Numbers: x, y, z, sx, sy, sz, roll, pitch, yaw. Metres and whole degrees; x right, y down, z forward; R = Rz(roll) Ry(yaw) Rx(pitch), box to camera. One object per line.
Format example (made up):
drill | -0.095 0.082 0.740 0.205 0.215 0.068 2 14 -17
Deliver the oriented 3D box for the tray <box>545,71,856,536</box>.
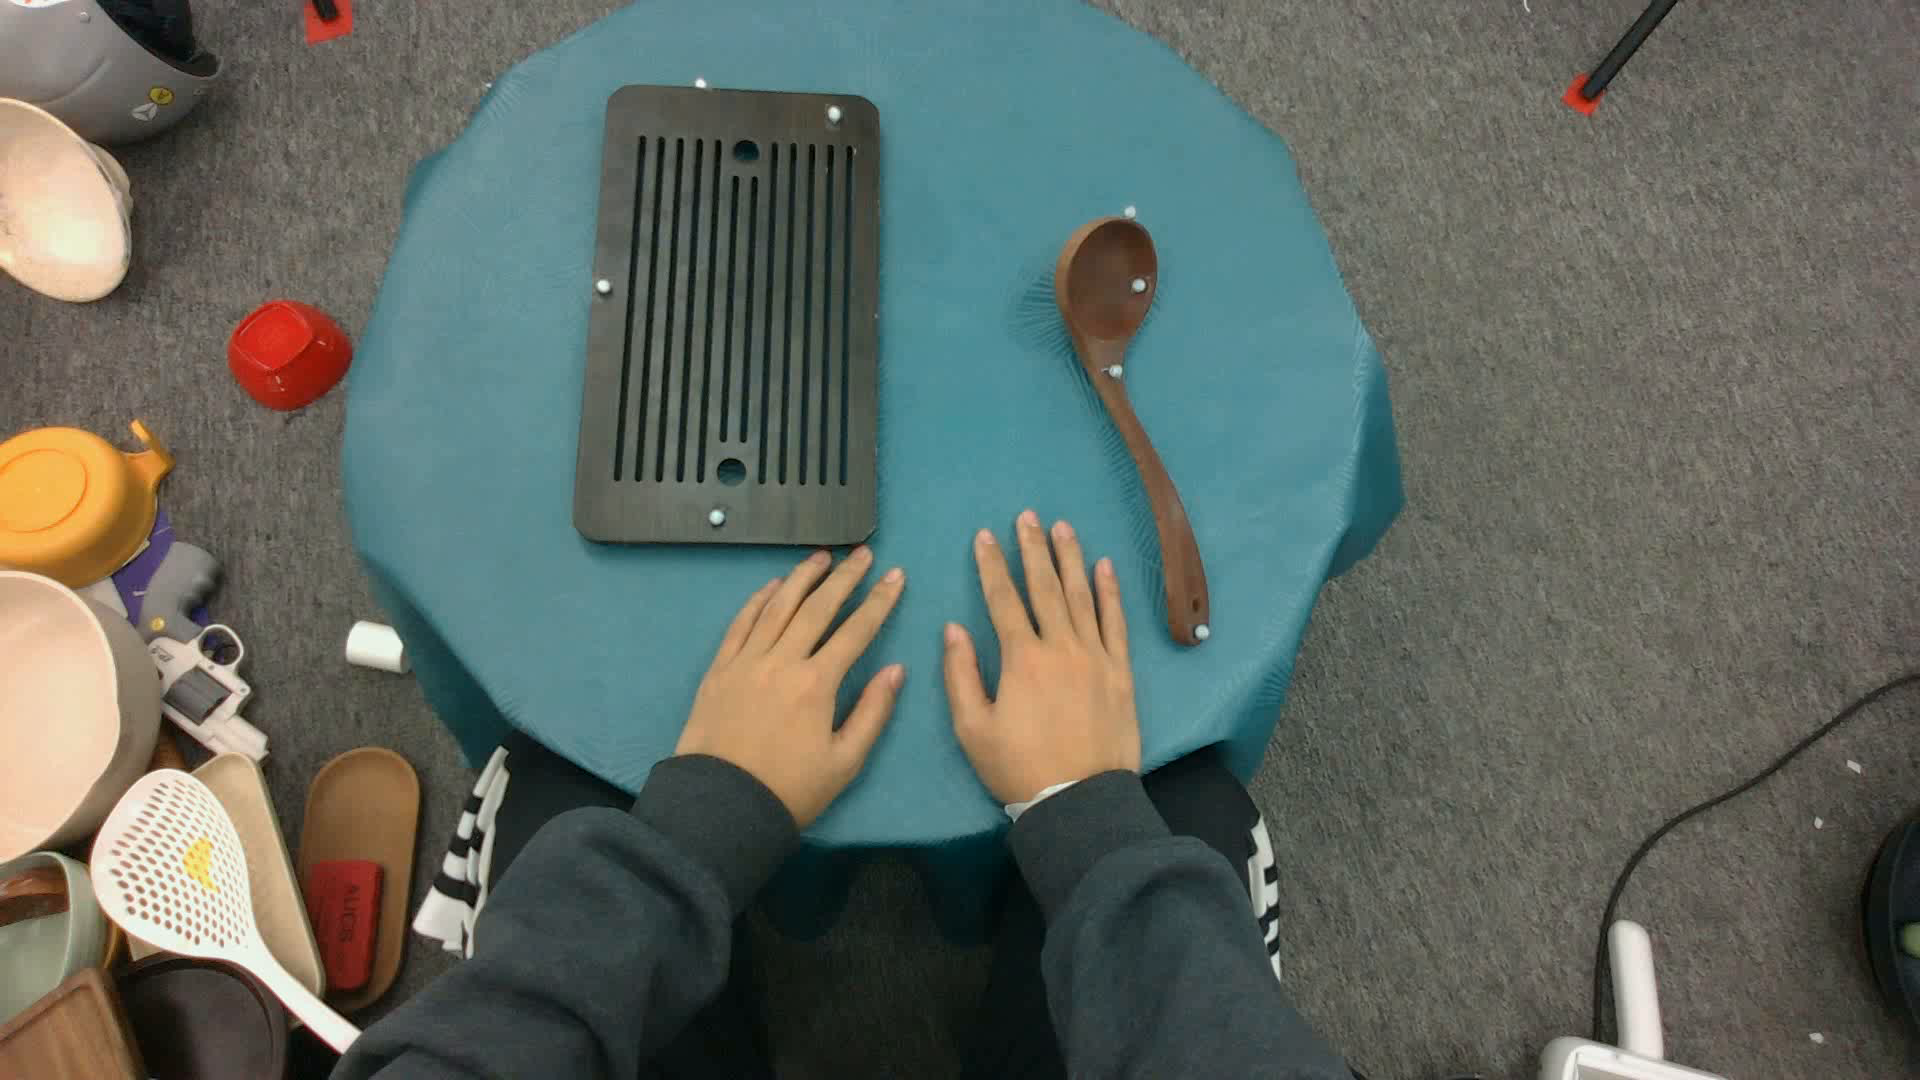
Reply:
tray | -0.149 -0.147 0.823 0.170 0.018 0.307 1 70 -5

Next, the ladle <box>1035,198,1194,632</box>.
ladle | 0.102 -0.077 0.797 0.077 0.065 0.261 -3 68 -34
